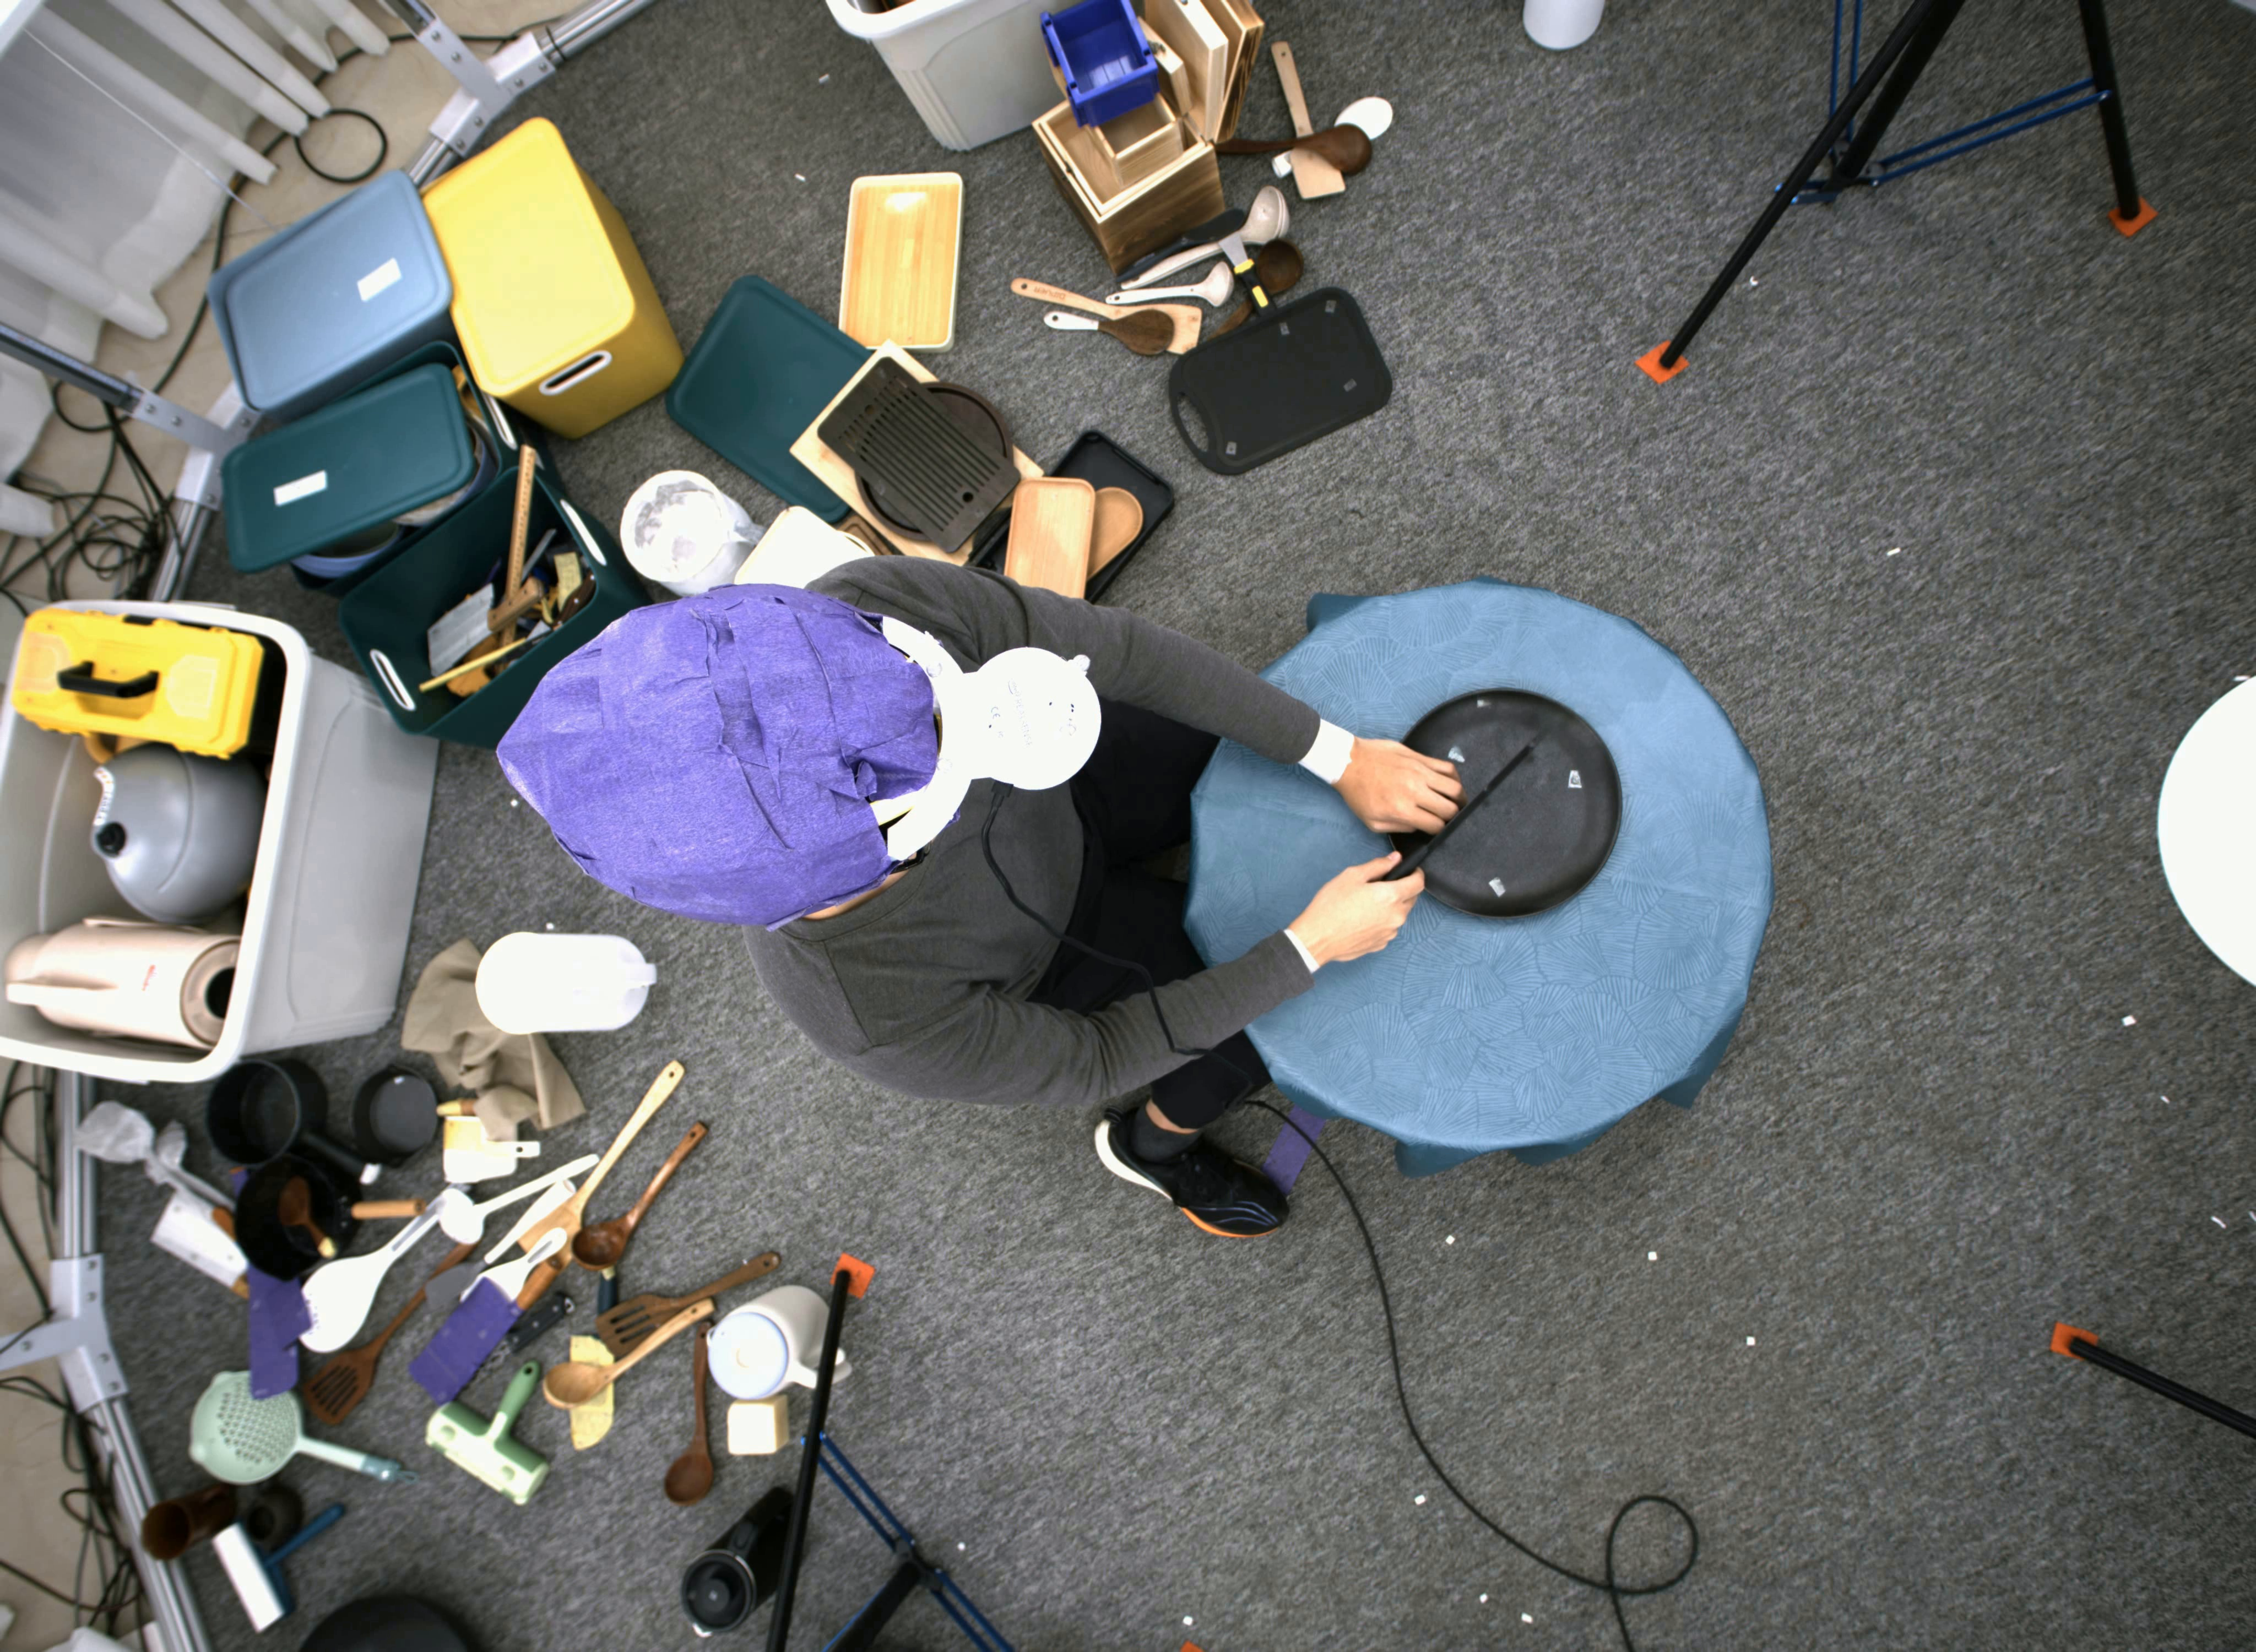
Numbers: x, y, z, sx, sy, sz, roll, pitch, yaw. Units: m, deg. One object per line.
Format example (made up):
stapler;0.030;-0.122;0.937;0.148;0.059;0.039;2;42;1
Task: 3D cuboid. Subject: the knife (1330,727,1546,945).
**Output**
knife;0.316;0.009;1.396;0.303;0.081;0.020;-44;73;1

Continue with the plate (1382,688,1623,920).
plate;0.389;-0.025;1.432;0.245;0.023;0.243;-1;87;11
